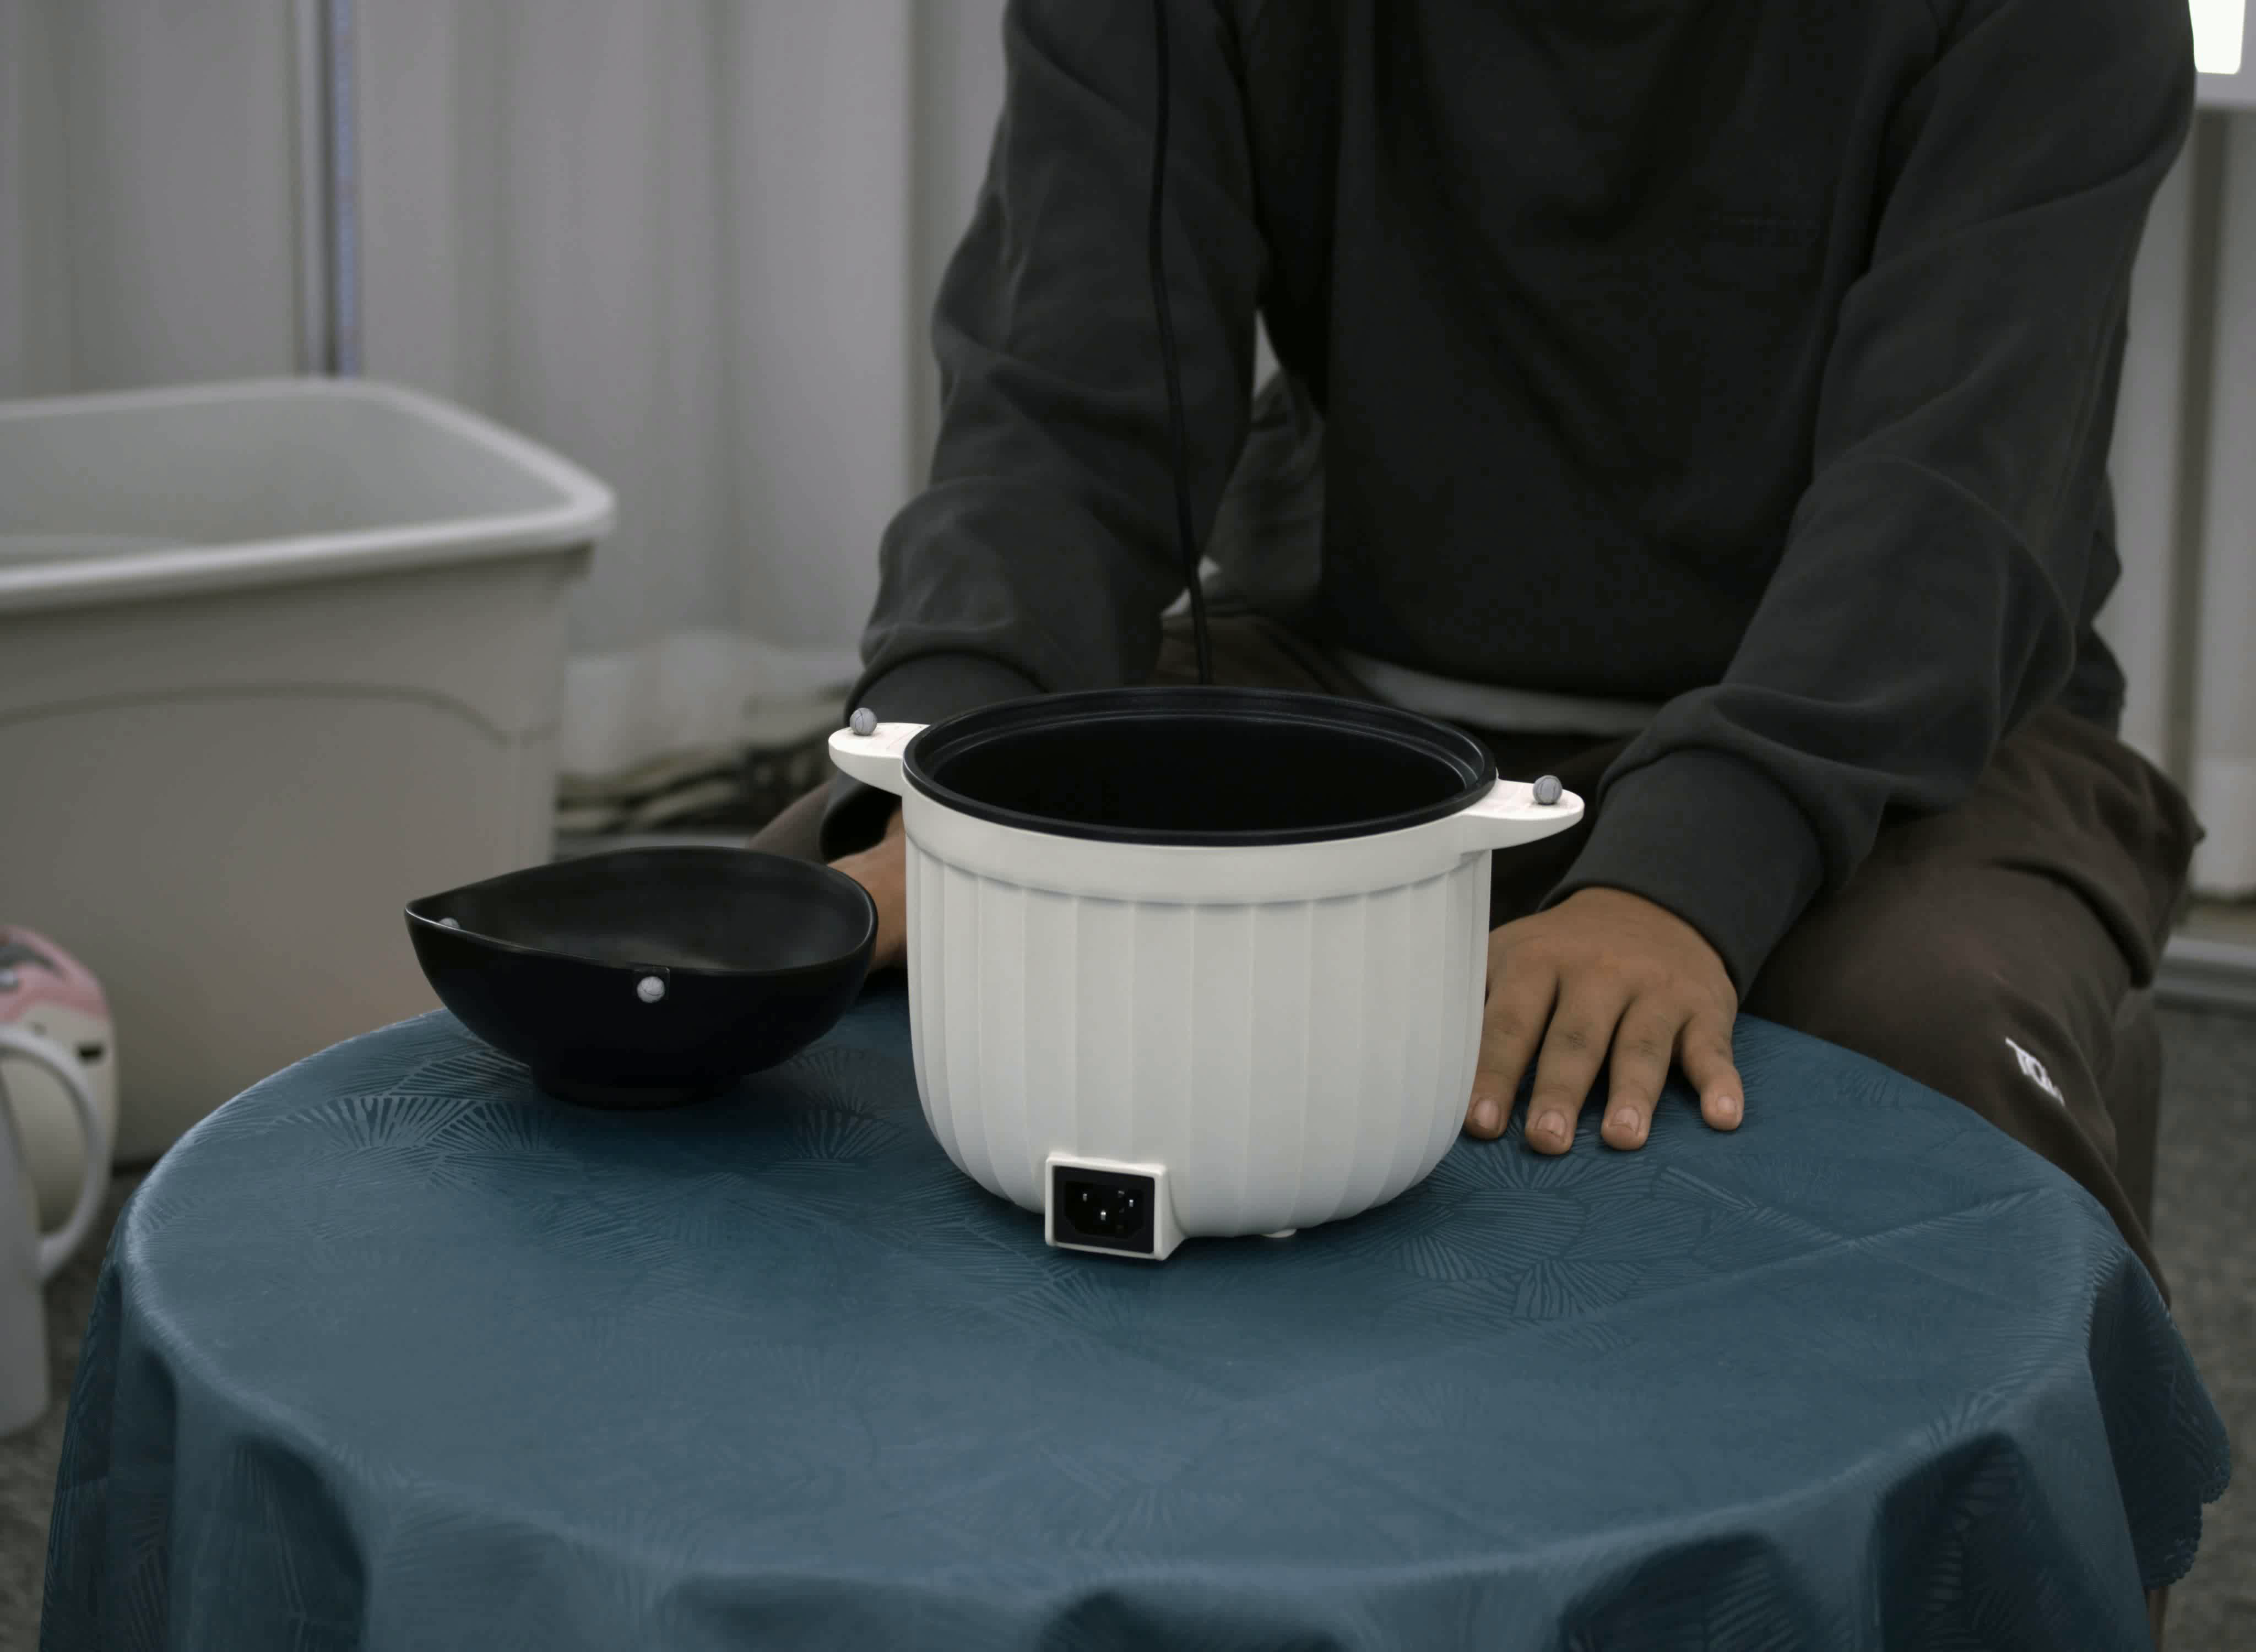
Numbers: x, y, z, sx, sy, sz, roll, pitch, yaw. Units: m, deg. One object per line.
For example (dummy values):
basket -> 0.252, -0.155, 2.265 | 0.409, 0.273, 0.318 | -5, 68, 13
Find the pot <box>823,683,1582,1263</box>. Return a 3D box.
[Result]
pot -> 0.021, 0.041, 1.626 | 0.238, 0.144, 0.190 | 7, 20, 16

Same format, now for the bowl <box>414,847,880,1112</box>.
bowl -> -0.158, 0.053, 1.713 | 0.168, 0.067, 0.138 | 11, 18, 36
